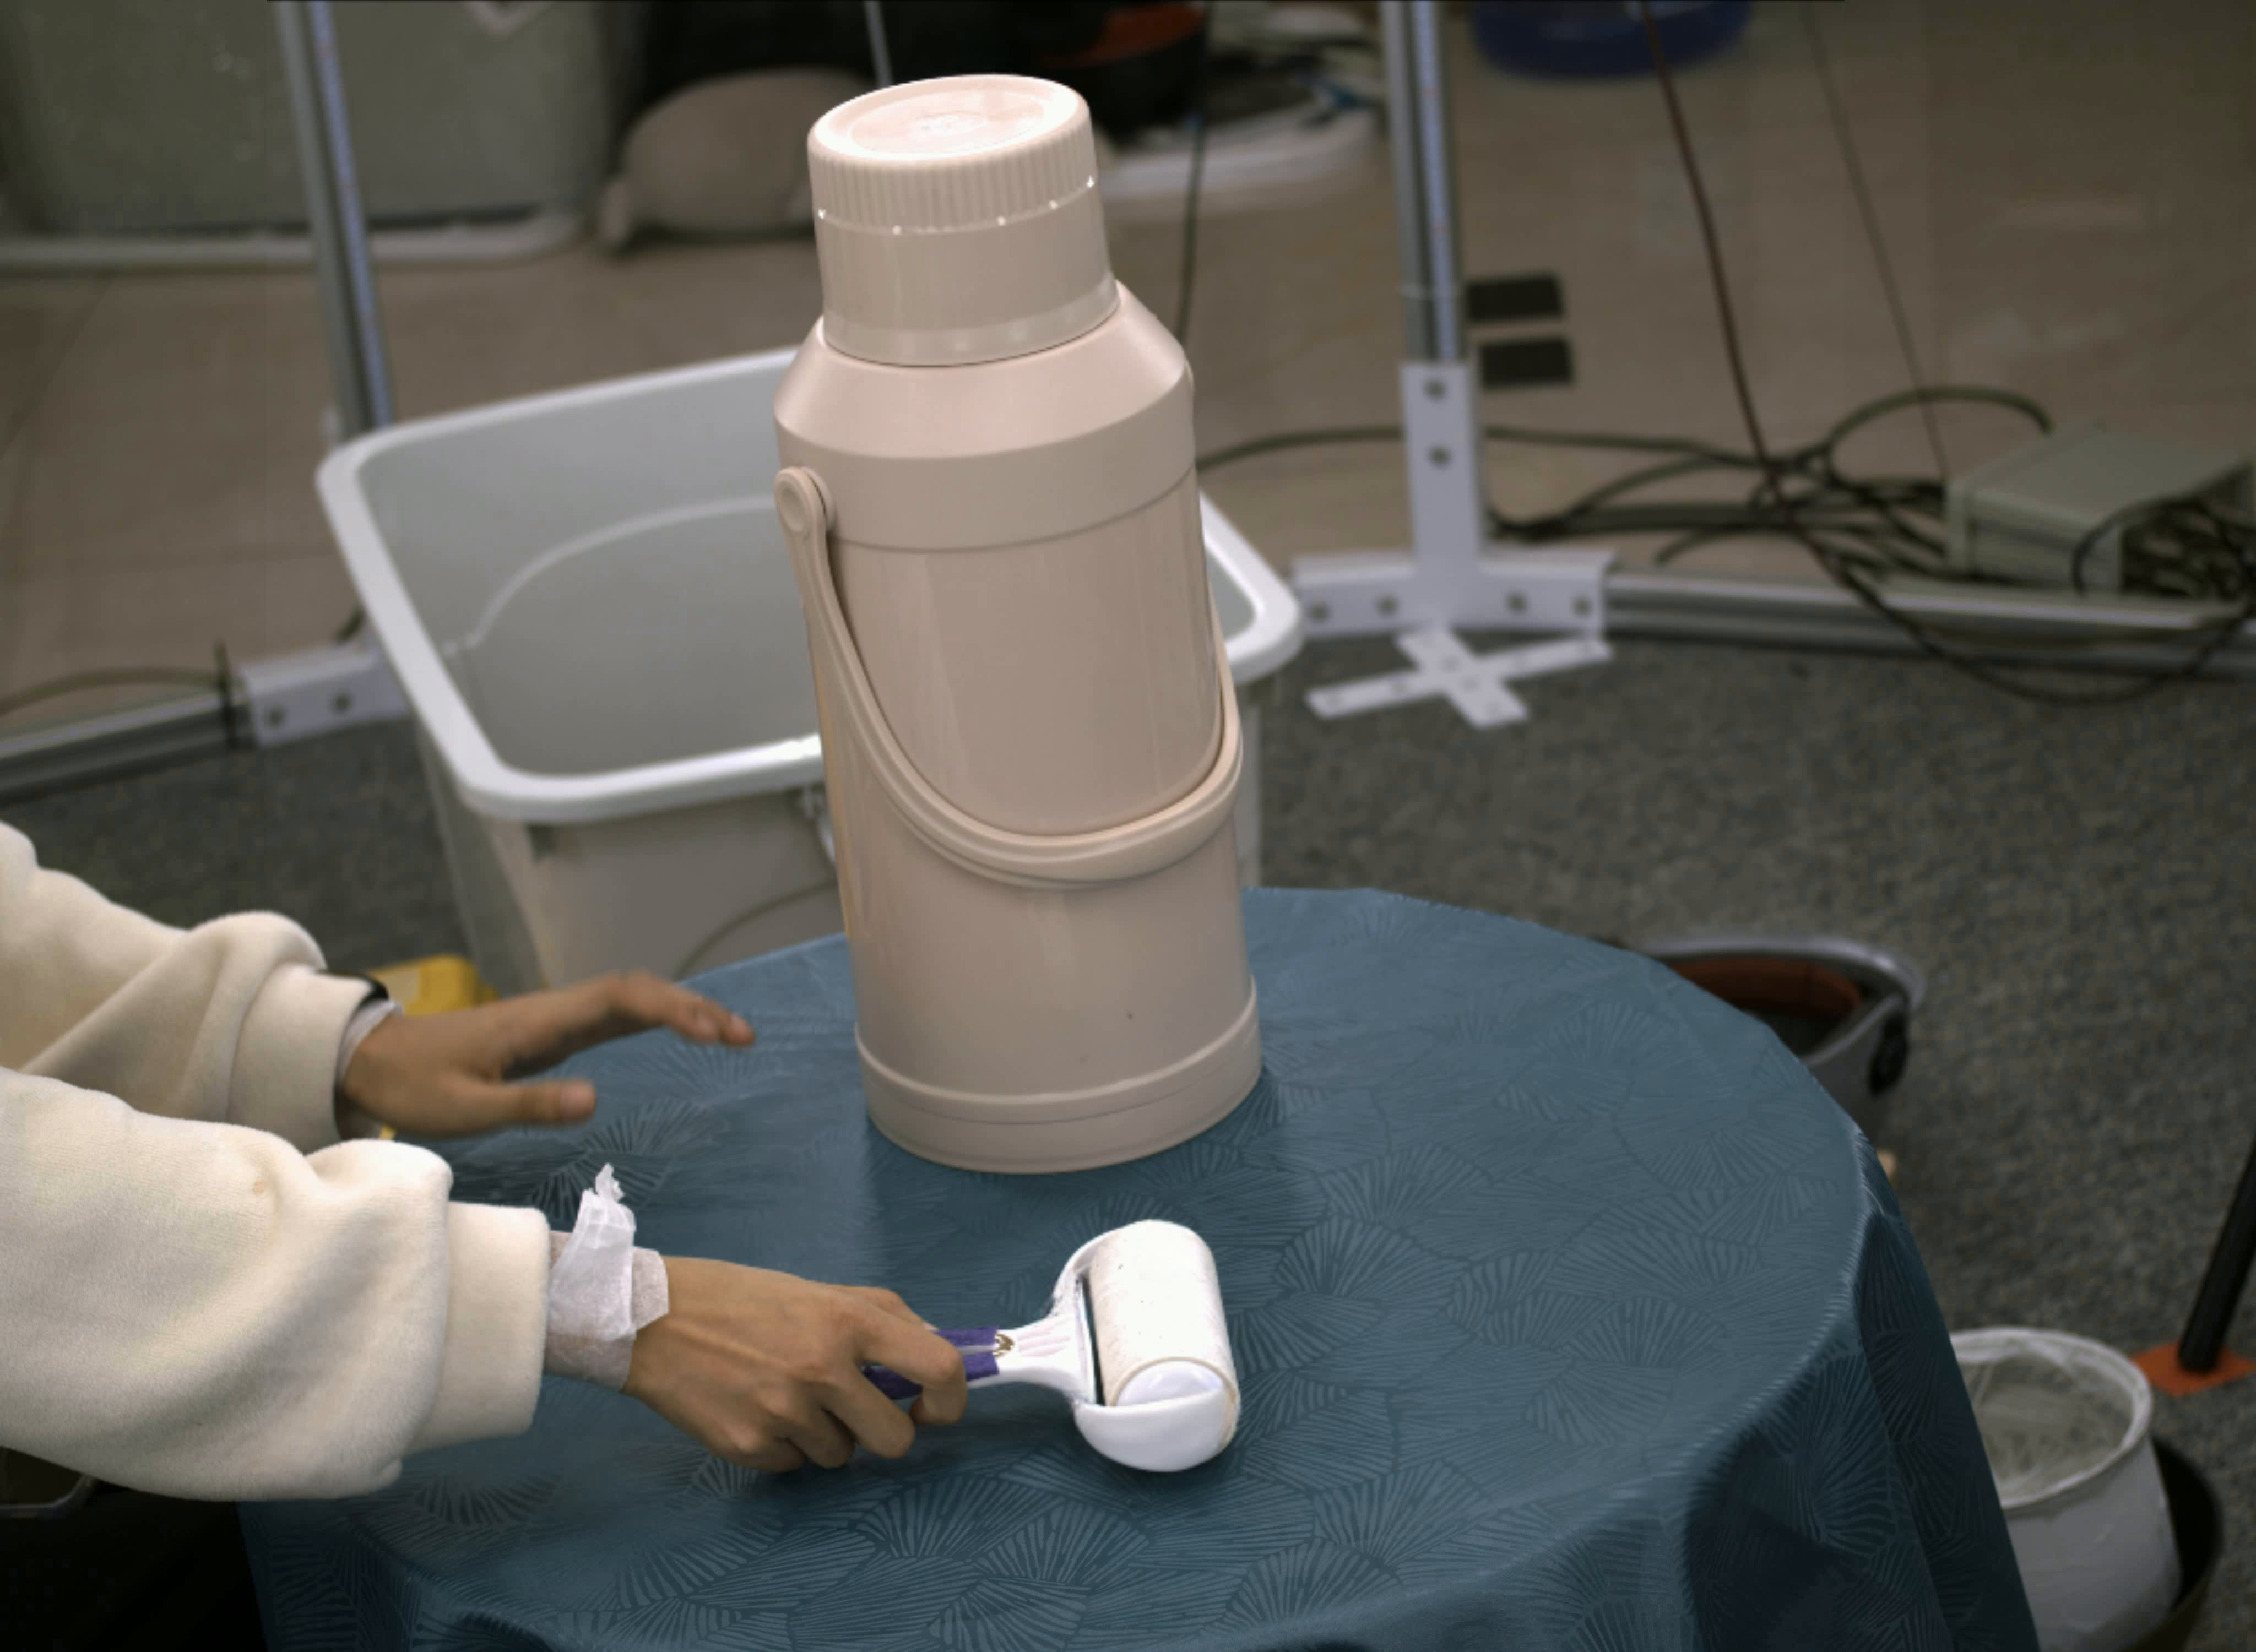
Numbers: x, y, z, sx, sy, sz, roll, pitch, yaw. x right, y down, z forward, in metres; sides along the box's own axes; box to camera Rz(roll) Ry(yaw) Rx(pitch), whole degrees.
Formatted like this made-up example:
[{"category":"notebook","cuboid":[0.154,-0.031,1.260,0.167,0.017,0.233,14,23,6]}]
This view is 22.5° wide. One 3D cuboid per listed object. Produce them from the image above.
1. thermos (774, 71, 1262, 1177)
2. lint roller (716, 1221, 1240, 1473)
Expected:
[{"category":"thermos","cuboid":[-0.052,-0.082,2.159,0.174,0.413,0.205,-23,30,-29]},{"category":"lint roller","cuboid":[-0.053,0.179,1.992,0.180,0.051,0.131,4,26,-5]}]
